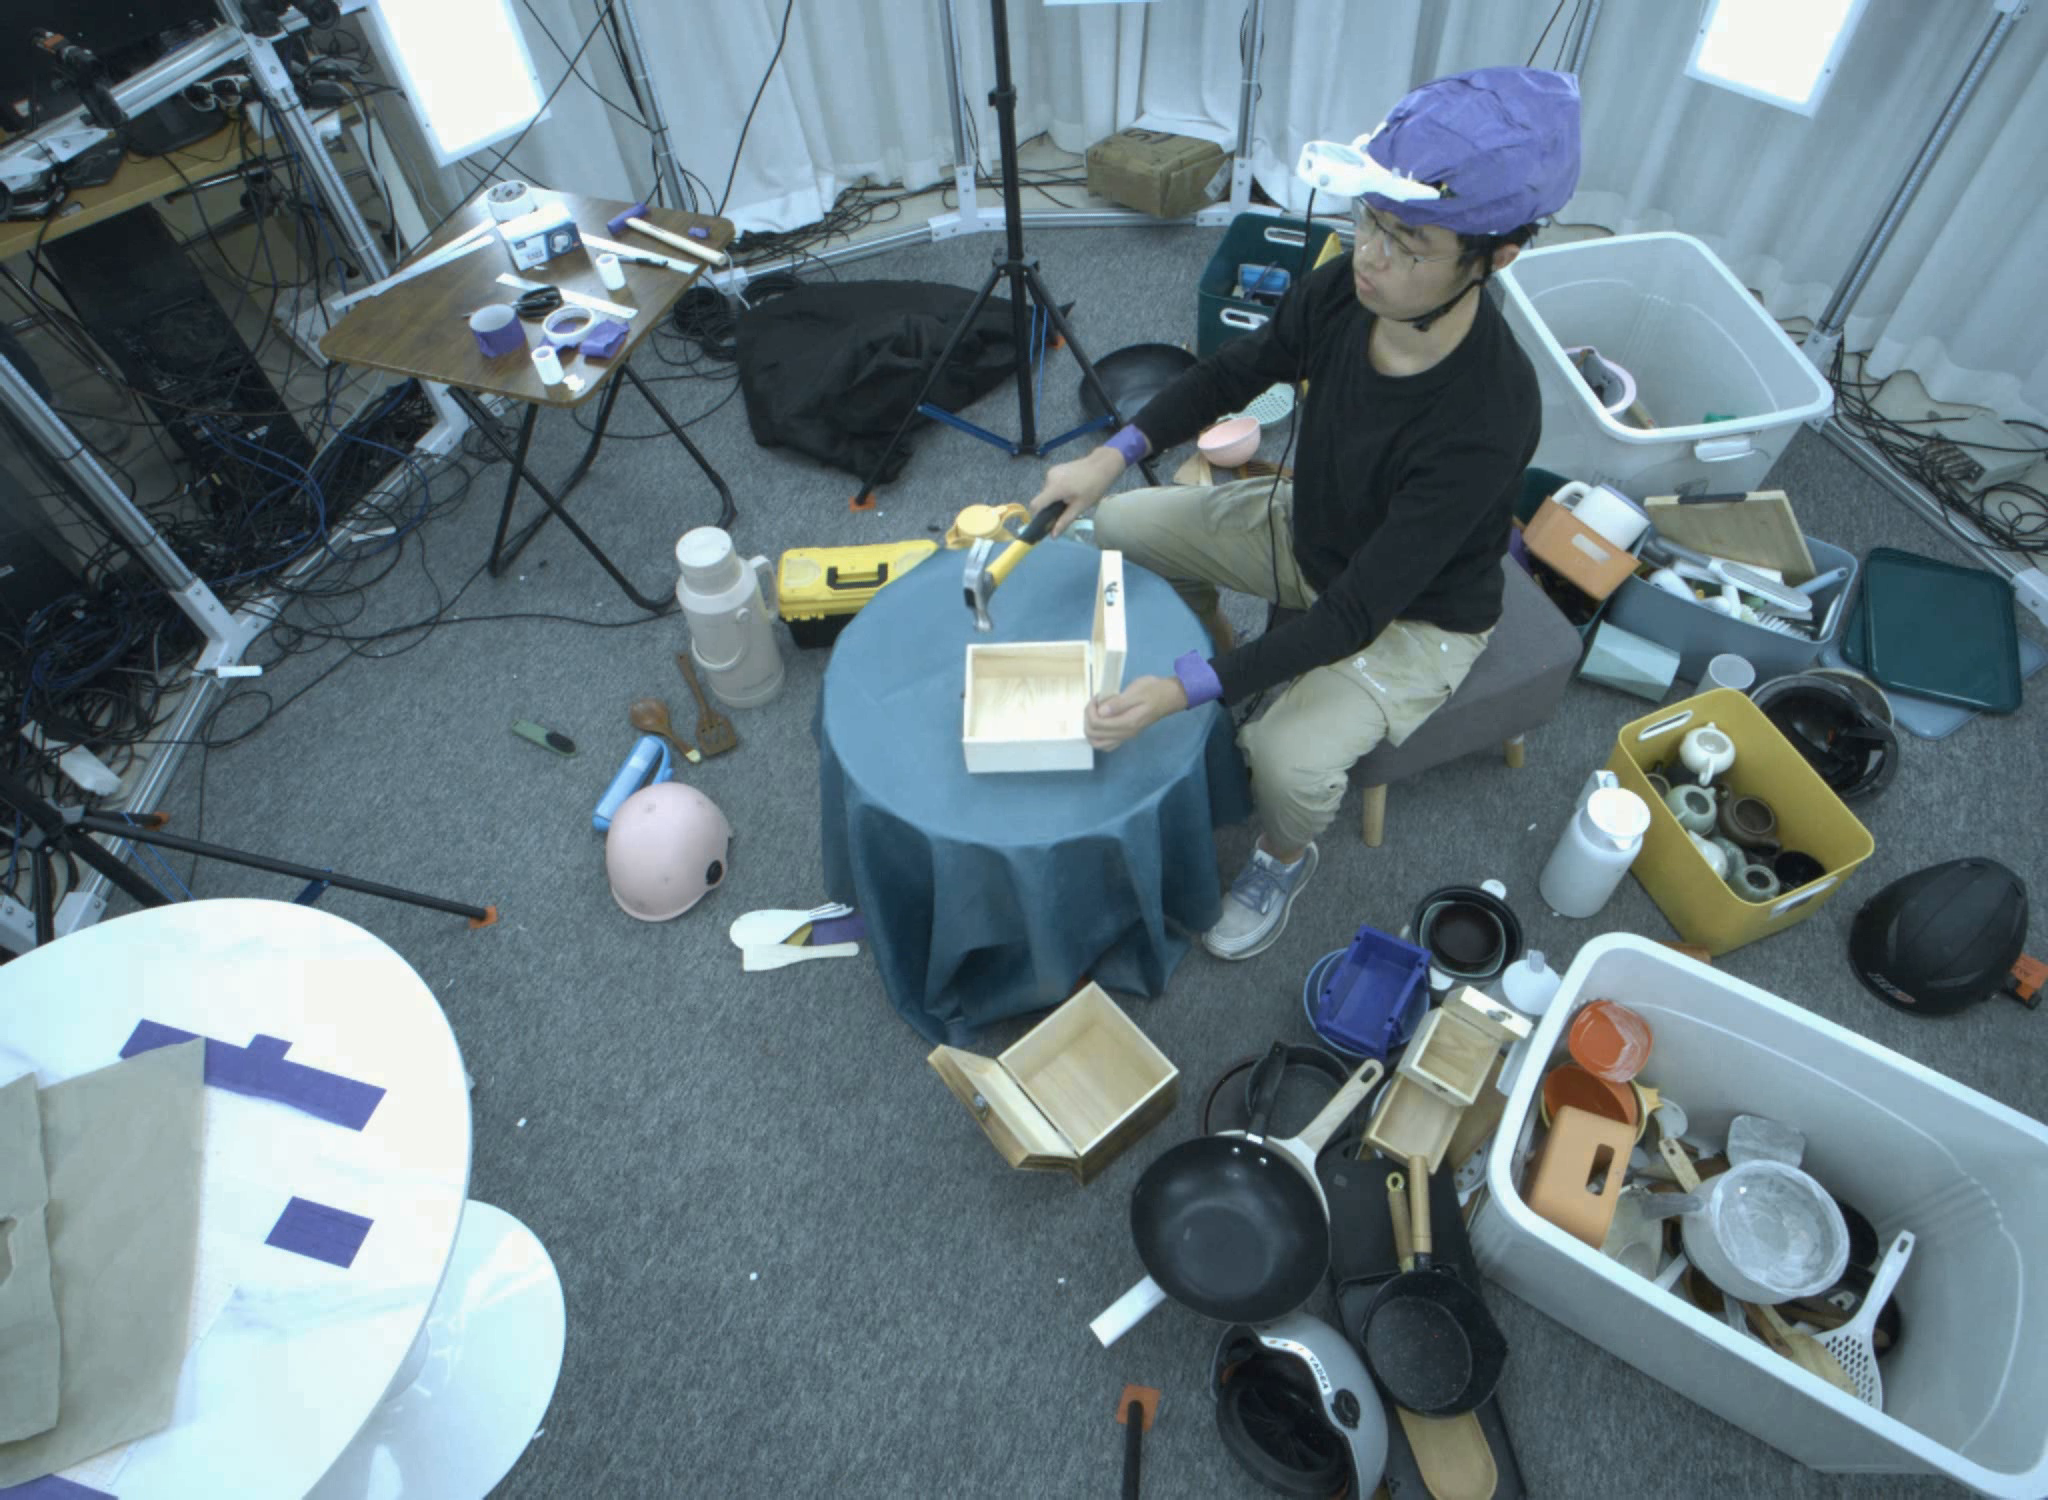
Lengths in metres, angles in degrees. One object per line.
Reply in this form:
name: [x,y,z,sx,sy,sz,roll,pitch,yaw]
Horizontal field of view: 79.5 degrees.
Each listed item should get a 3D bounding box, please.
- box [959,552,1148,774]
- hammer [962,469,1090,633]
box: [0.034,-0.118,1.711,0.265,0.256,0.180,-3,52,2]
hammer: [0.009,-0.323,1.831,0.031,0.133,0.340,18,50,26]
